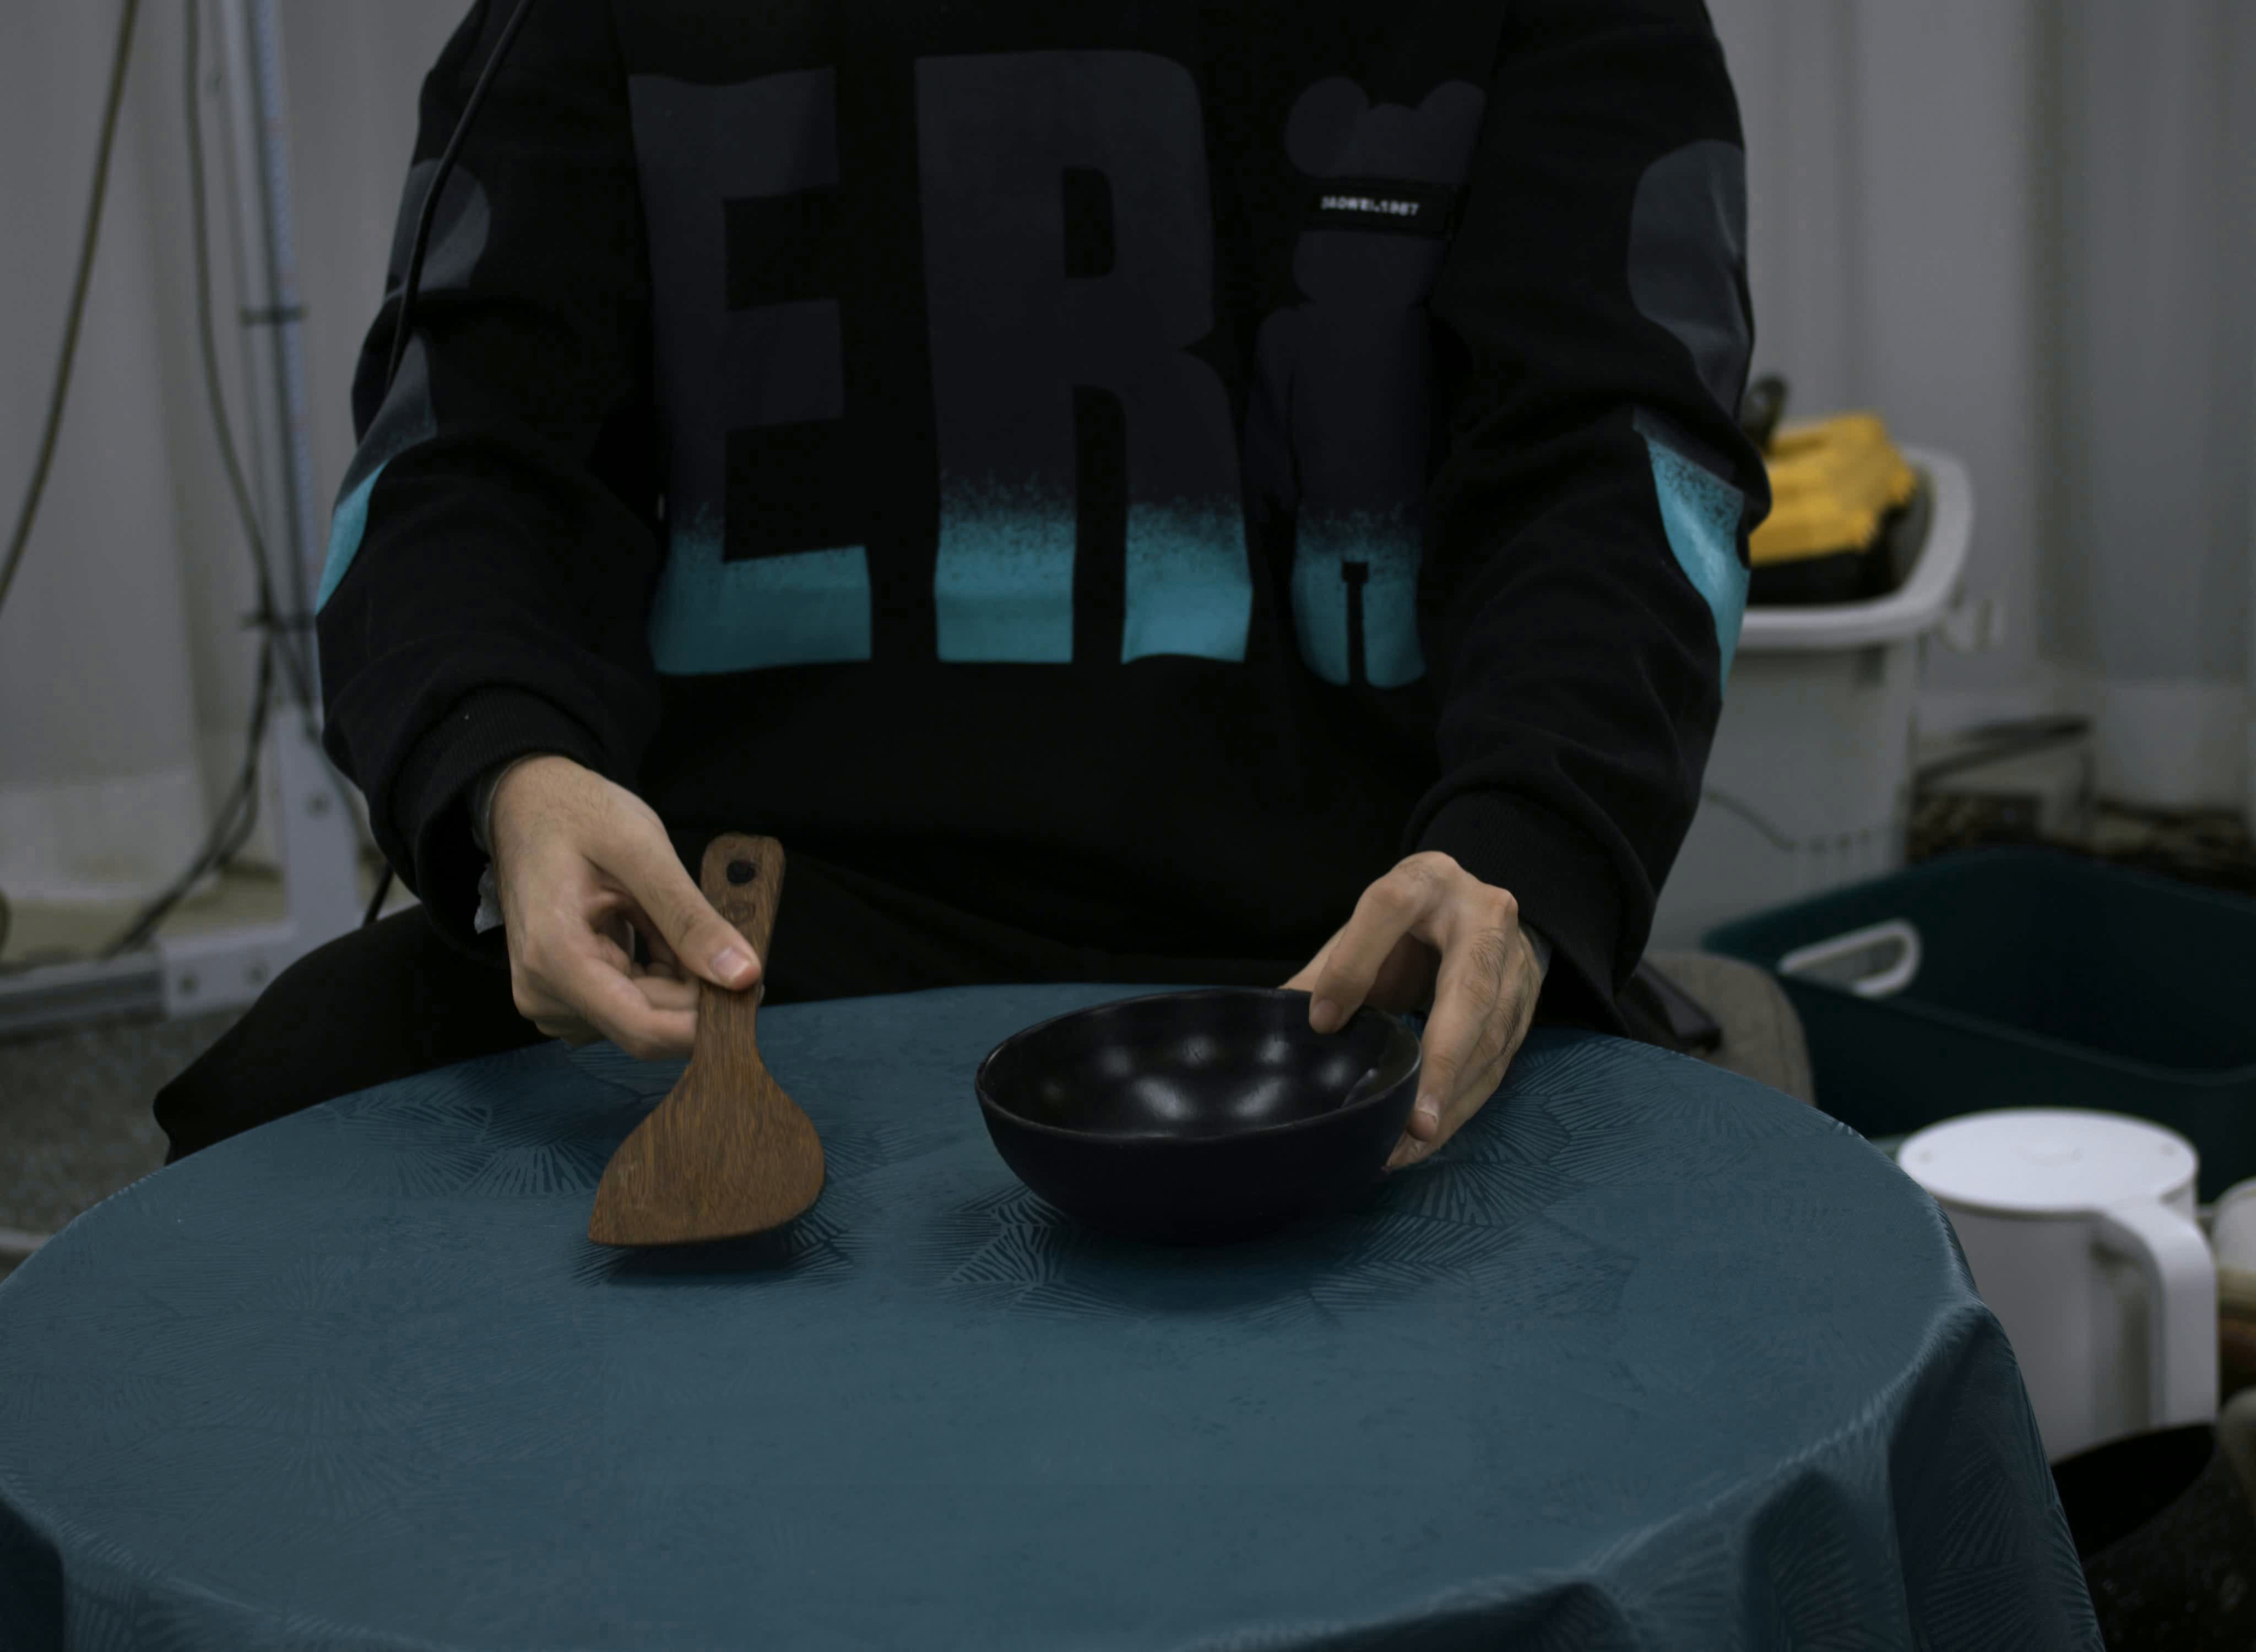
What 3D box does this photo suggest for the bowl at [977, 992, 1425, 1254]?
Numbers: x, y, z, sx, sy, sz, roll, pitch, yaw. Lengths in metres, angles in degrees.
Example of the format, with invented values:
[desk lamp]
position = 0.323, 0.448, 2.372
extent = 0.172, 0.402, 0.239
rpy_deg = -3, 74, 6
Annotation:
[bowl]
position = 0.025, 0.096, 1.683
extent = 0.139, 0.049, 0.141
rpy_deg = -6, 15, 1

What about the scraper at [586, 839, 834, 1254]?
[scraper]
position = -0.127, 0.068, 1.741
extent = 0.075, 0.010, 0.214
rpy_deg = -6, 35, 5
